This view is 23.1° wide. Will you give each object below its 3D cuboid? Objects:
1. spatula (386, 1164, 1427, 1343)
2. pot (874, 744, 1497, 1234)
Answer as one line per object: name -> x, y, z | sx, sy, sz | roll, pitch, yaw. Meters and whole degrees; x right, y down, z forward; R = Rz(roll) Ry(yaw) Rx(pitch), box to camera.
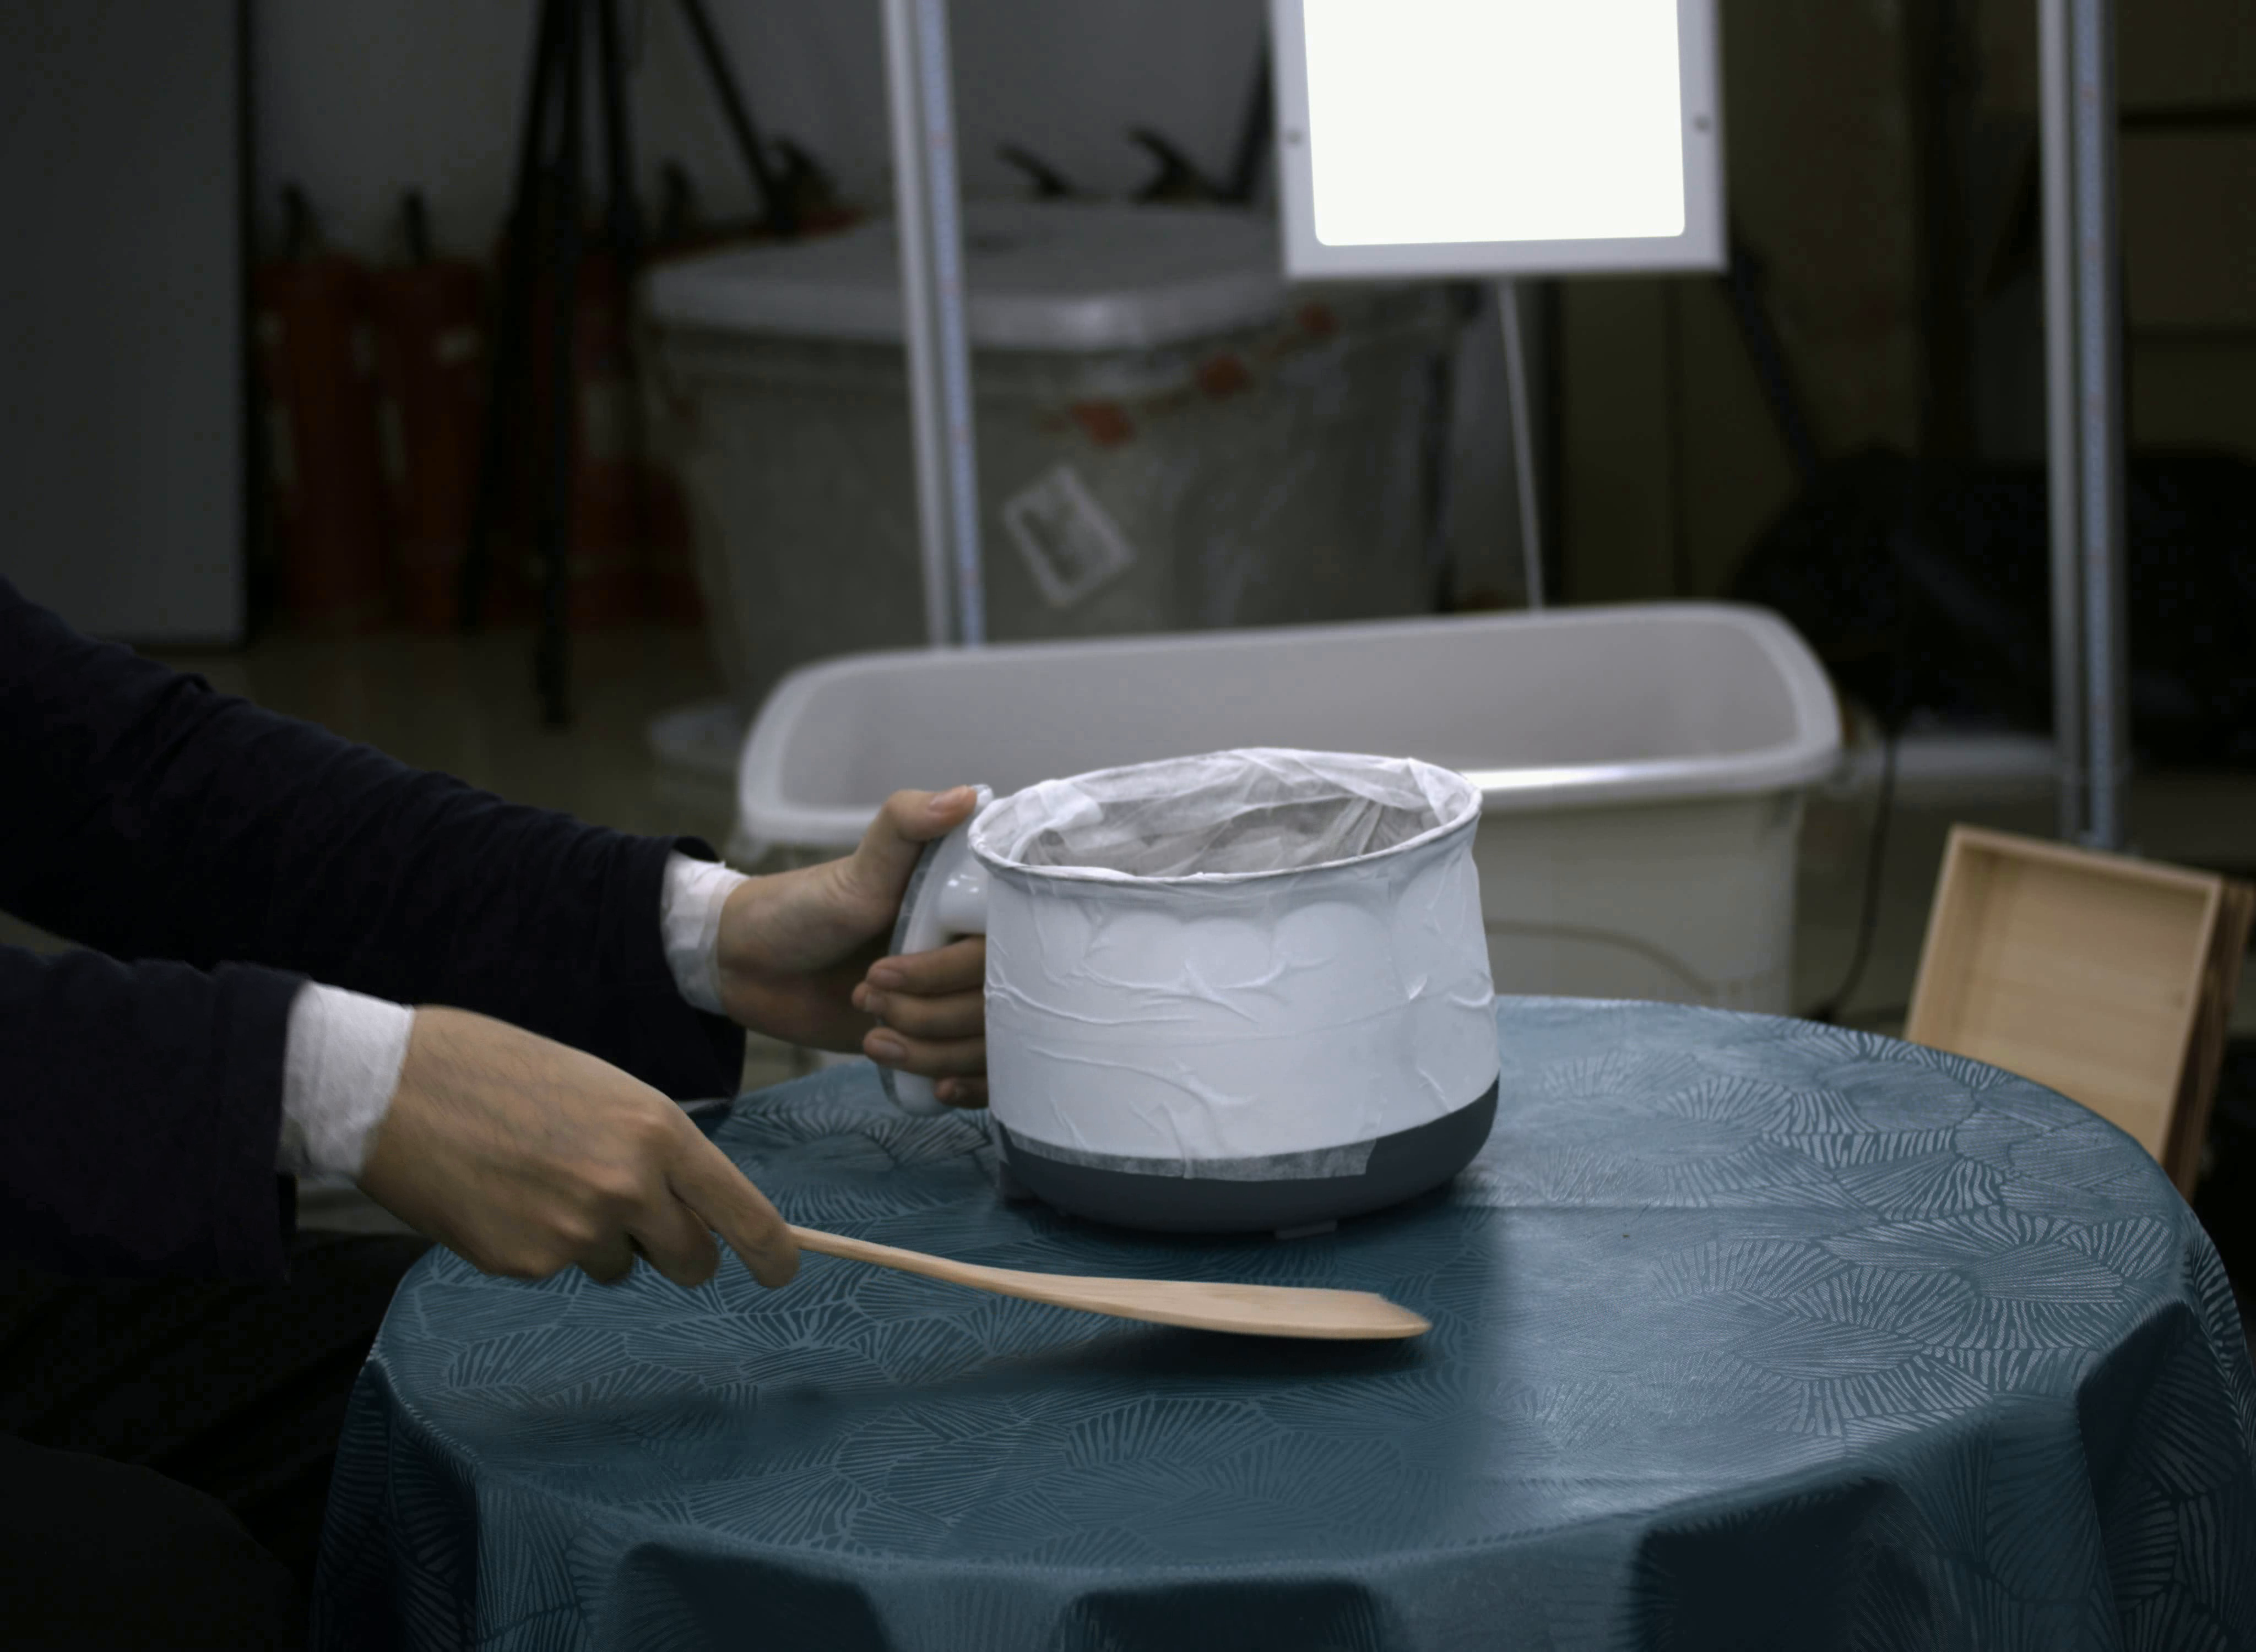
spatula -> -0.070, 0.133, 1.730 | 0.326, 0.016, 0.080 | 10, 4, -1
pot -> 0.014, 0.052, 1.900 | 0.238, 0.137, 0.174 | 5, 15, 30
